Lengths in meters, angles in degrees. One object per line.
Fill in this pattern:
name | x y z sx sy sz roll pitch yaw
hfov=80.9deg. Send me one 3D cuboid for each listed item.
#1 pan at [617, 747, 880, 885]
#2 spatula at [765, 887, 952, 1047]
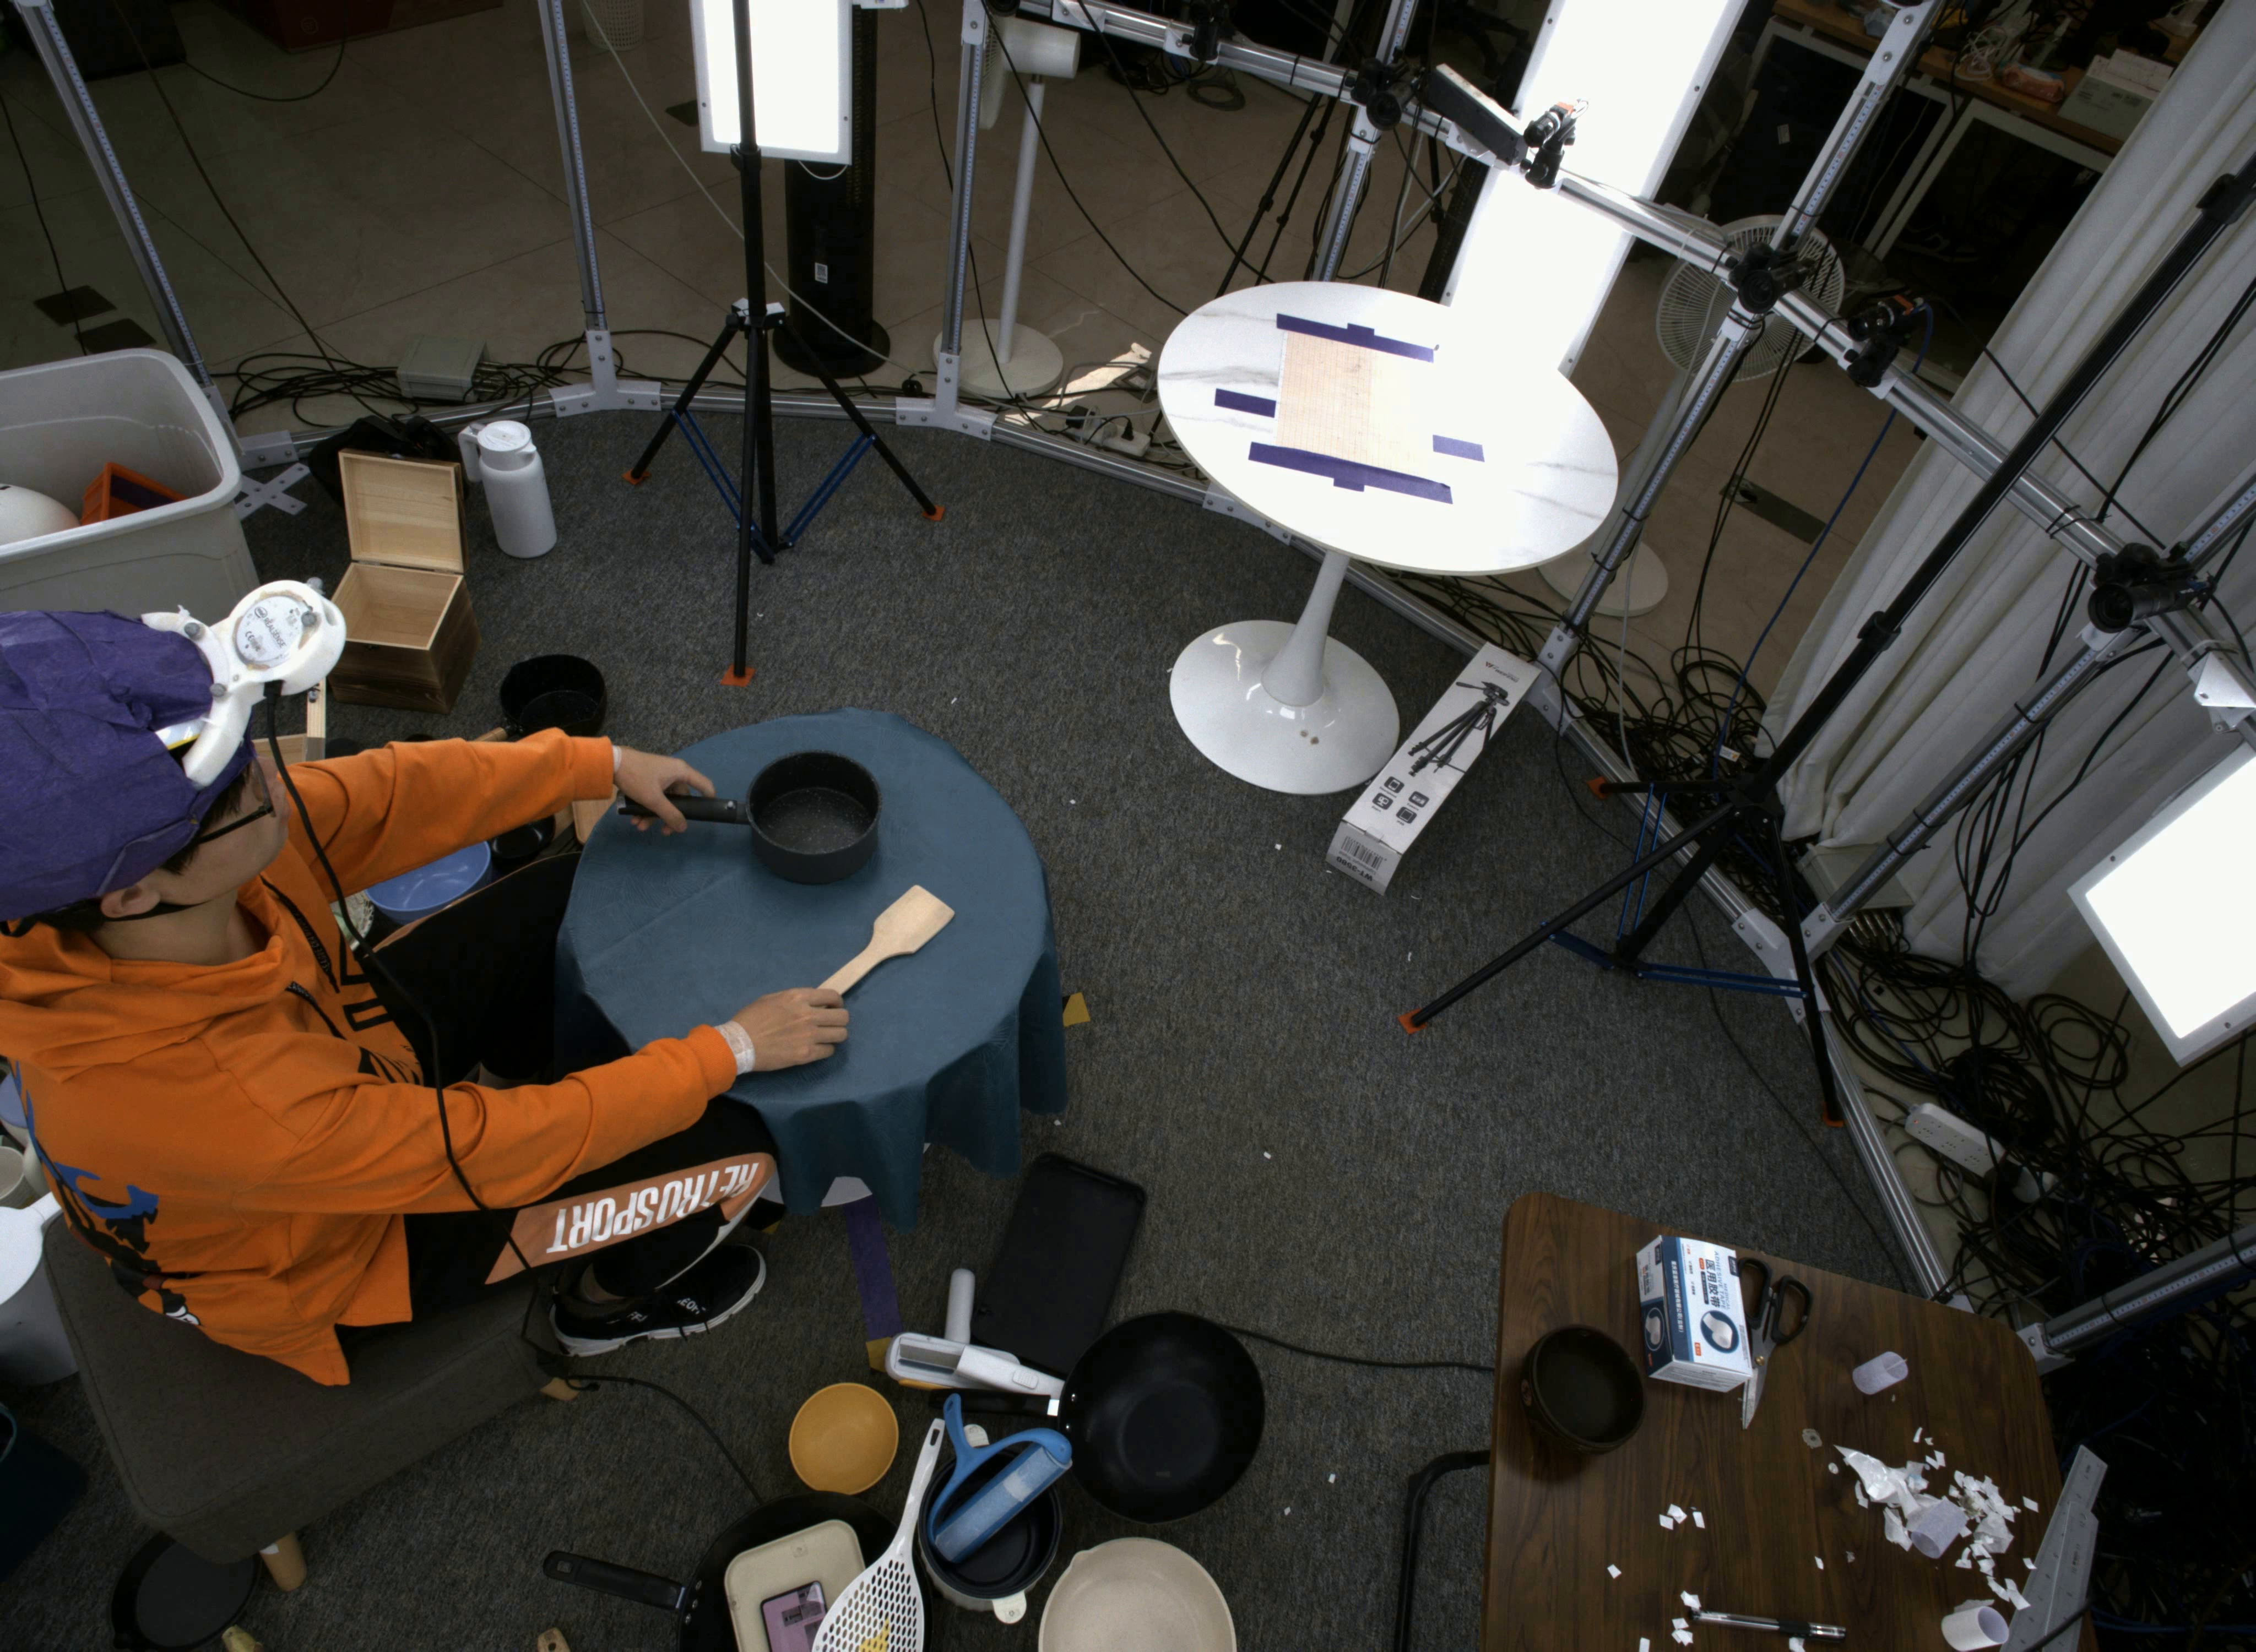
pan | -0.484 -0.015 1.655 0.330 0.088 0.168 2 52 -15
spatula | -0.332 0.173 1.593 0.071 0.011 0.293 38 49 11
